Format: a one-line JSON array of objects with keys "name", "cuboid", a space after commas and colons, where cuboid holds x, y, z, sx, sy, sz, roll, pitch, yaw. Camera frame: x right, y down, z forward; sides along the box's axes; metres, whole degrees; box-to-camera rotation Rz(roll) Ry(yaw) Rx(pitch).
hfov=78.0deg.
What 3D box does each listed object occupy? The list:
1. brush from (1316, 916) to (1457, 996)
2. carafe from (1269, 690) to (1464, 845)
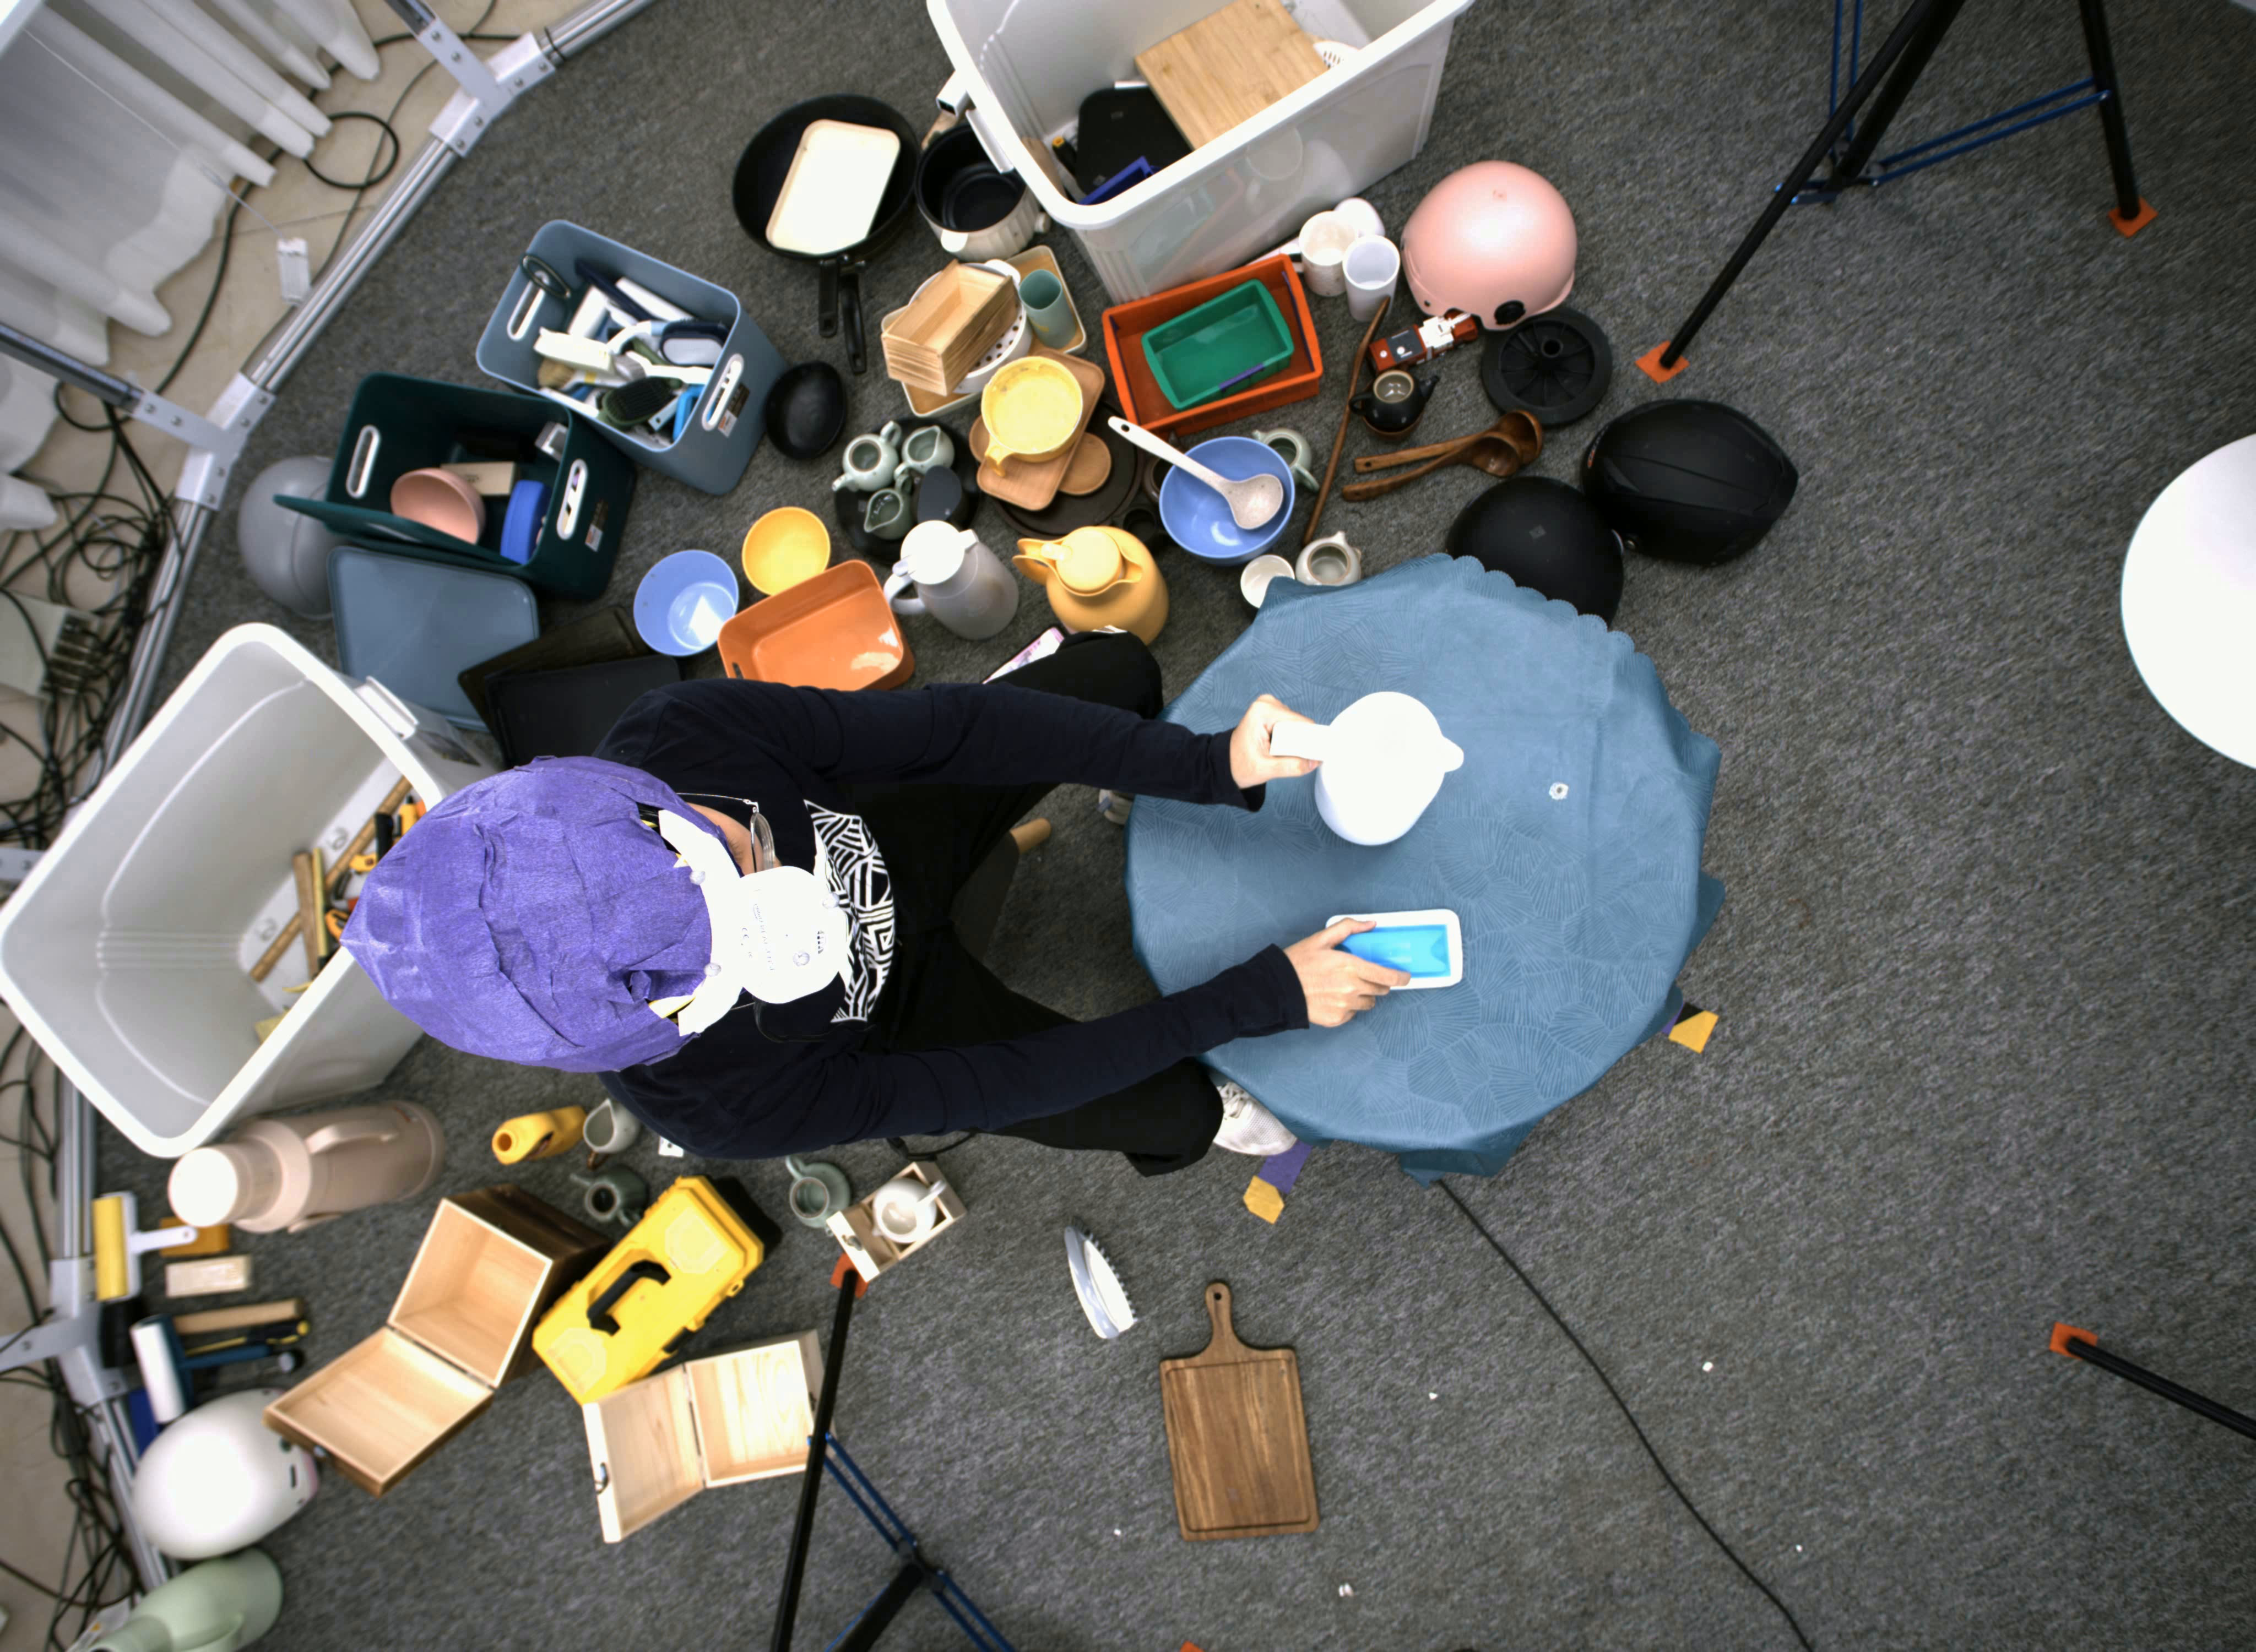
[{"name": "brush", "cuboid": [0.267, 0.130, 1.425, 0.144, 0.056, 0.083, -2, 82, 7]}, {"name": "carafe", "cuboid": [0.225, -0.055, 1.335, 0.173, 0.269, 0.123, 6, 86, 8]}]
